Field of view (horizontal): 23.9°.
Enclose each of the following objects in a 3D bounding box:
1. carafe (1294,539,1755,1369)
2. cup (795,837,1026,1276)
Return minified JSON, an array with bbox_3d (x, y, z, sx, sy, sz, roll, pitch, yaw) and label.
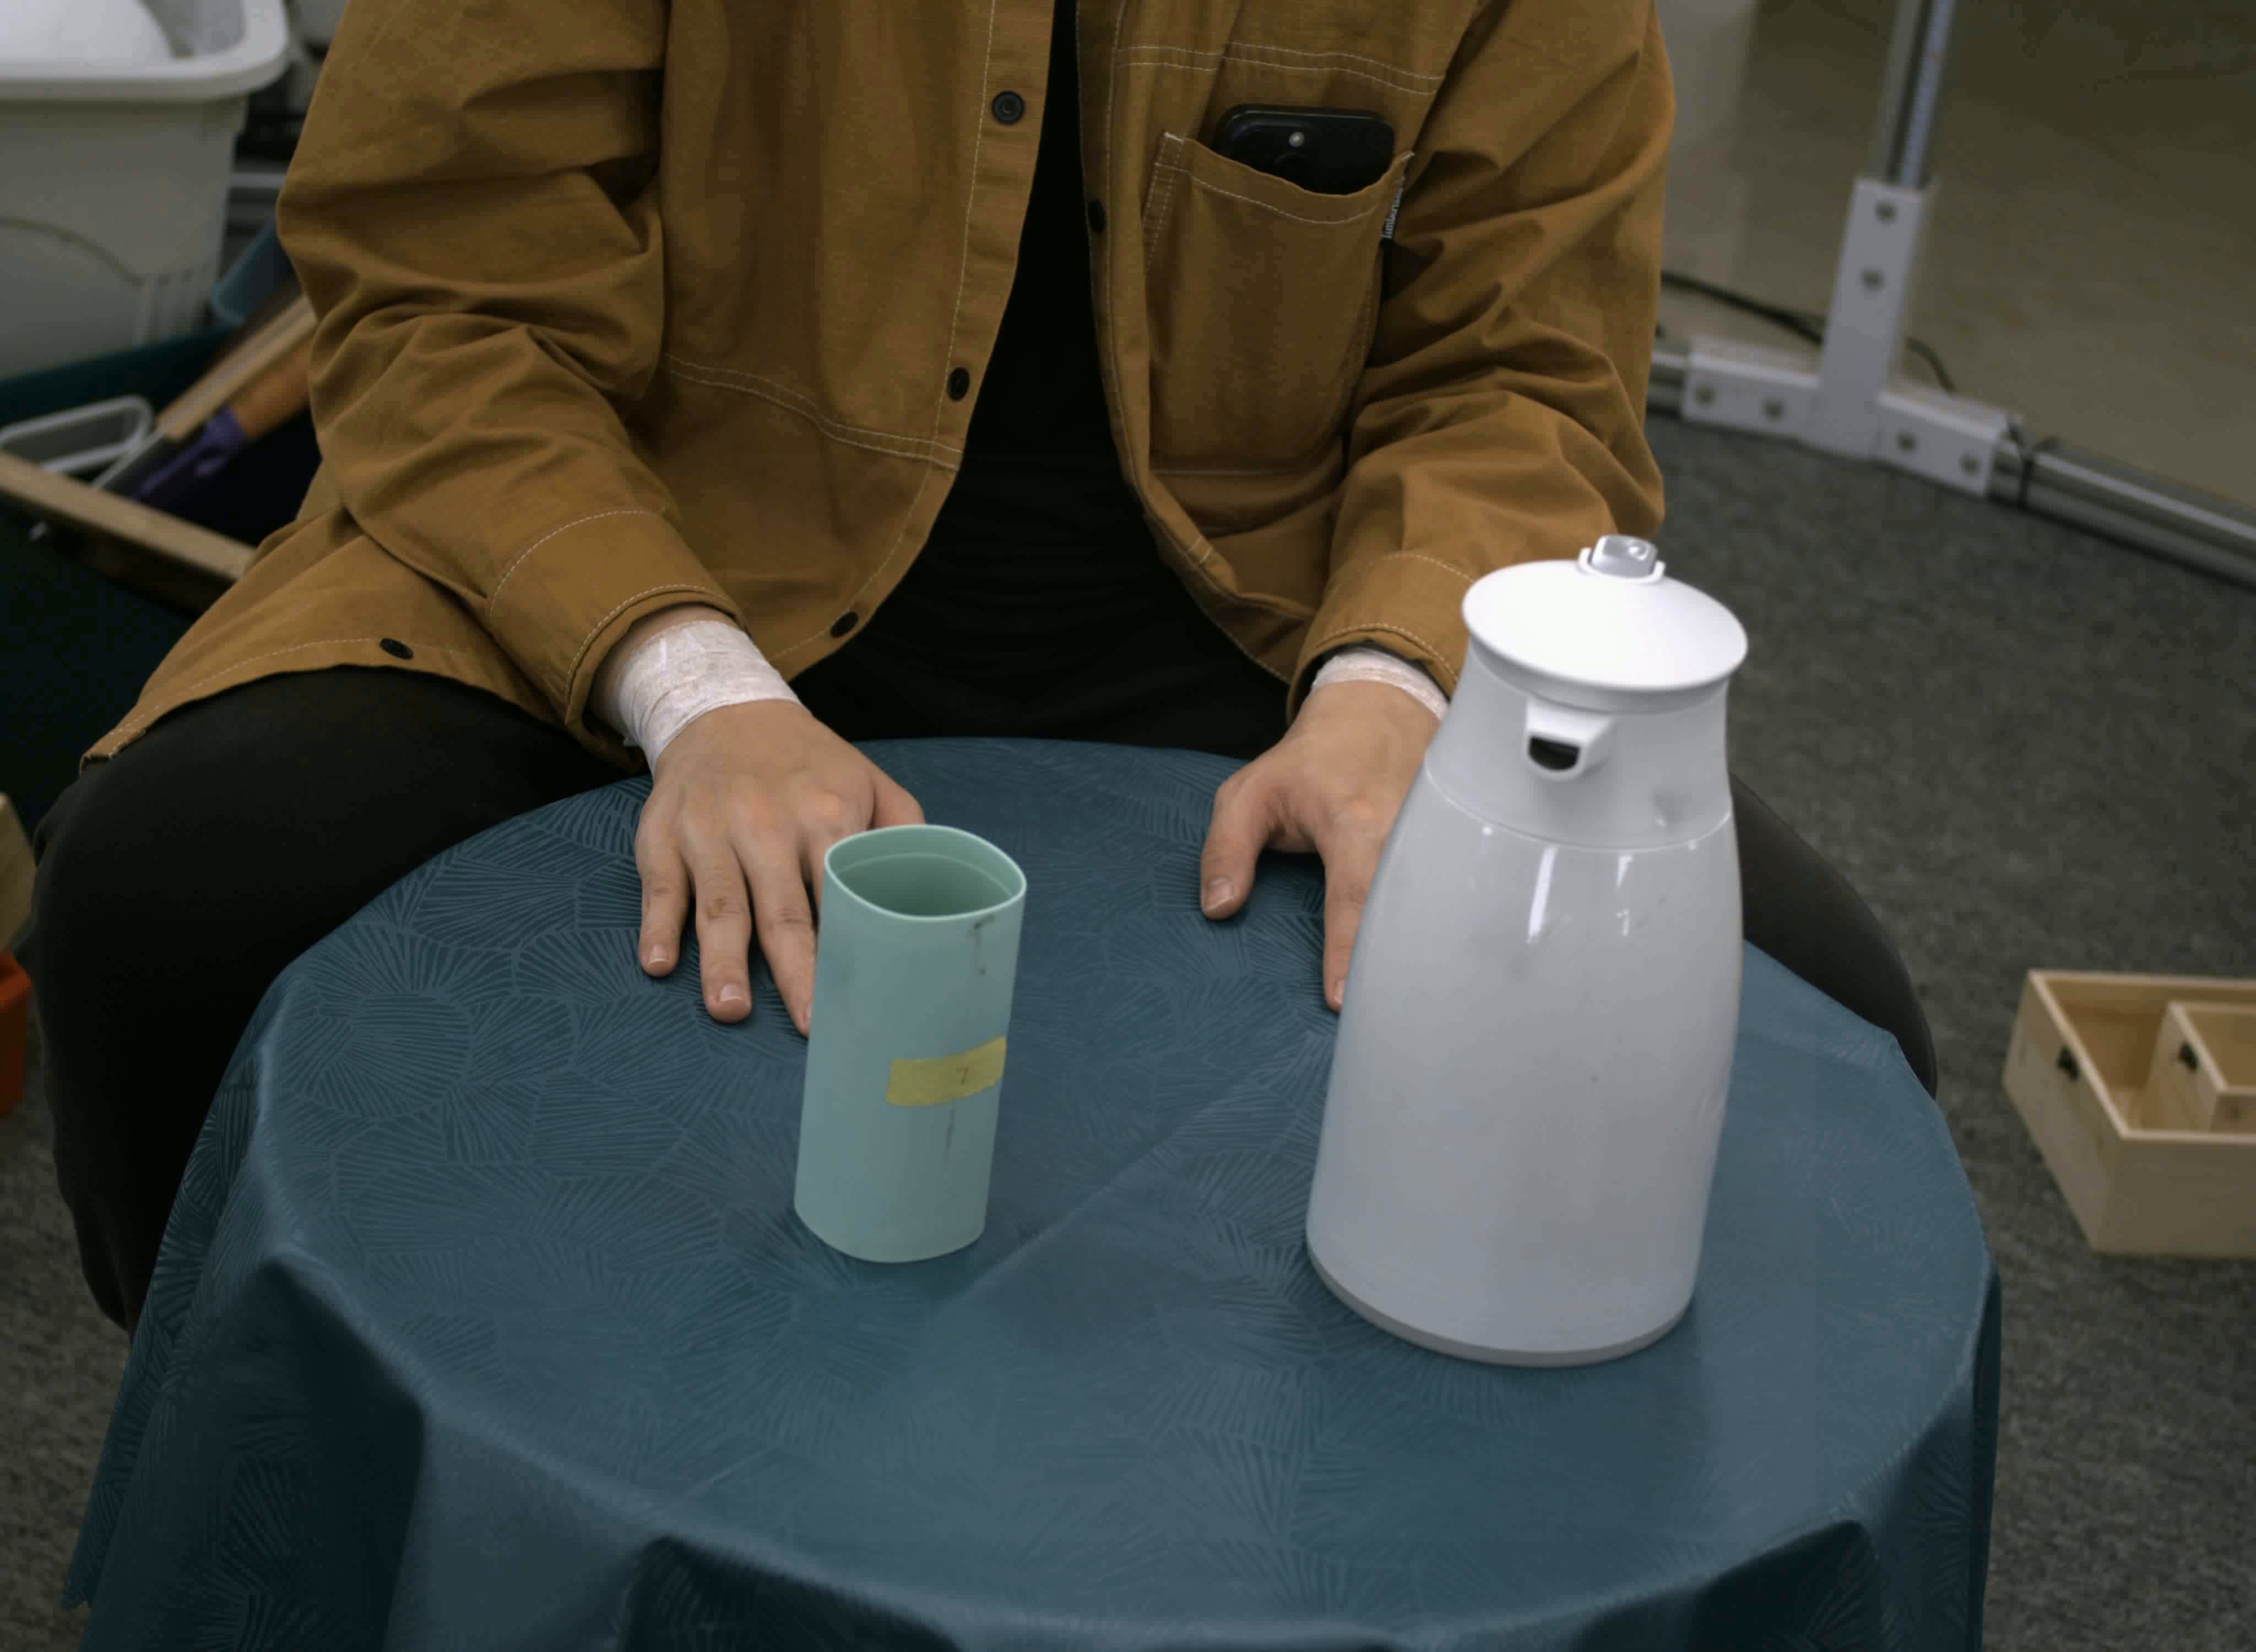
[{"bbox_3d":[0.142,0.030,1.751,0.132,0.248,0.168,14,26,12],"label":"carafe"},{"bbox_3d":[-0.073,0.075,1.749,0.066,0.132,0.067,6,26,-3],"label":"cup"}]
